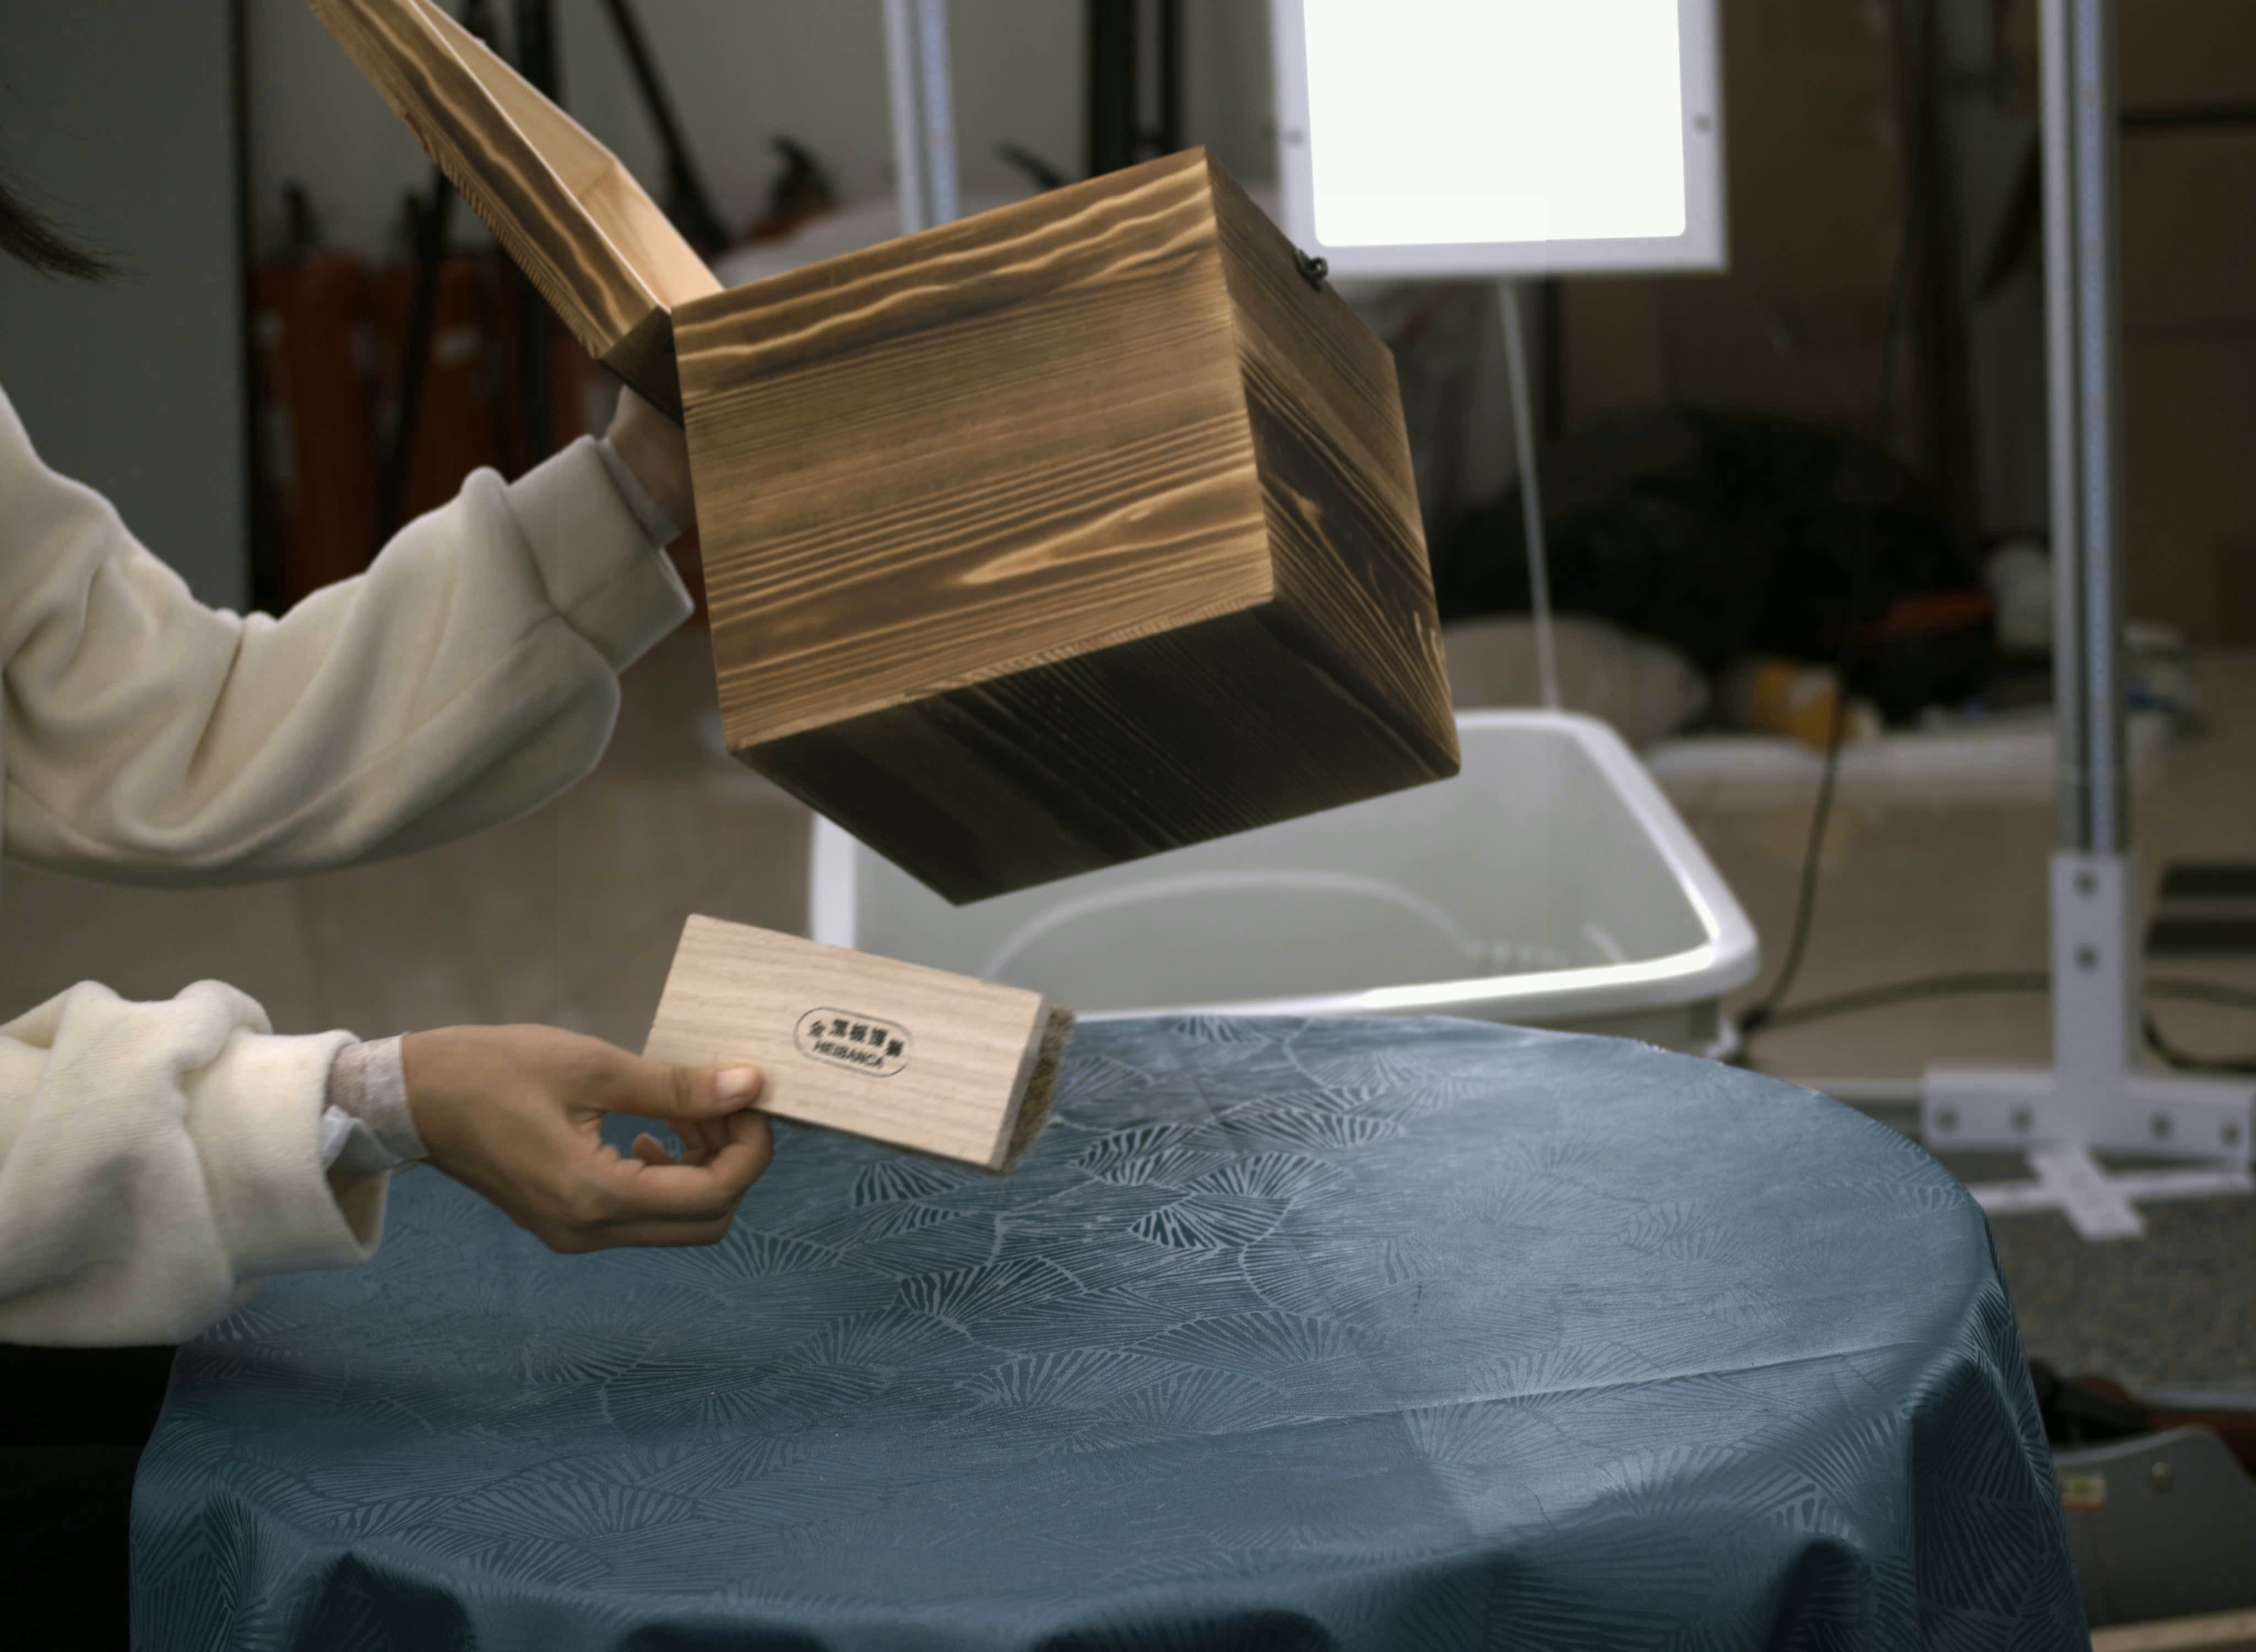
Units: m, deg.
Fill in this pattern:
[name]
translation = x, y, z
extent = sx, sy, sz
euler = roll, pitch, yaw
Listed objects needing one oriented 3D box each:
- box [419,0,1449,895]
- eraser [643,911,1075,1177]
[box]
translation = -0.080, -0.179, 1.987
extent = 0.326, 0.376, 0.205
euler = -14, -20, 19
[eraser]
translation = -0.086, 0.070, 1.748
extent = 0.142, 0.057, 0.028
euler = 12, -10, 35
